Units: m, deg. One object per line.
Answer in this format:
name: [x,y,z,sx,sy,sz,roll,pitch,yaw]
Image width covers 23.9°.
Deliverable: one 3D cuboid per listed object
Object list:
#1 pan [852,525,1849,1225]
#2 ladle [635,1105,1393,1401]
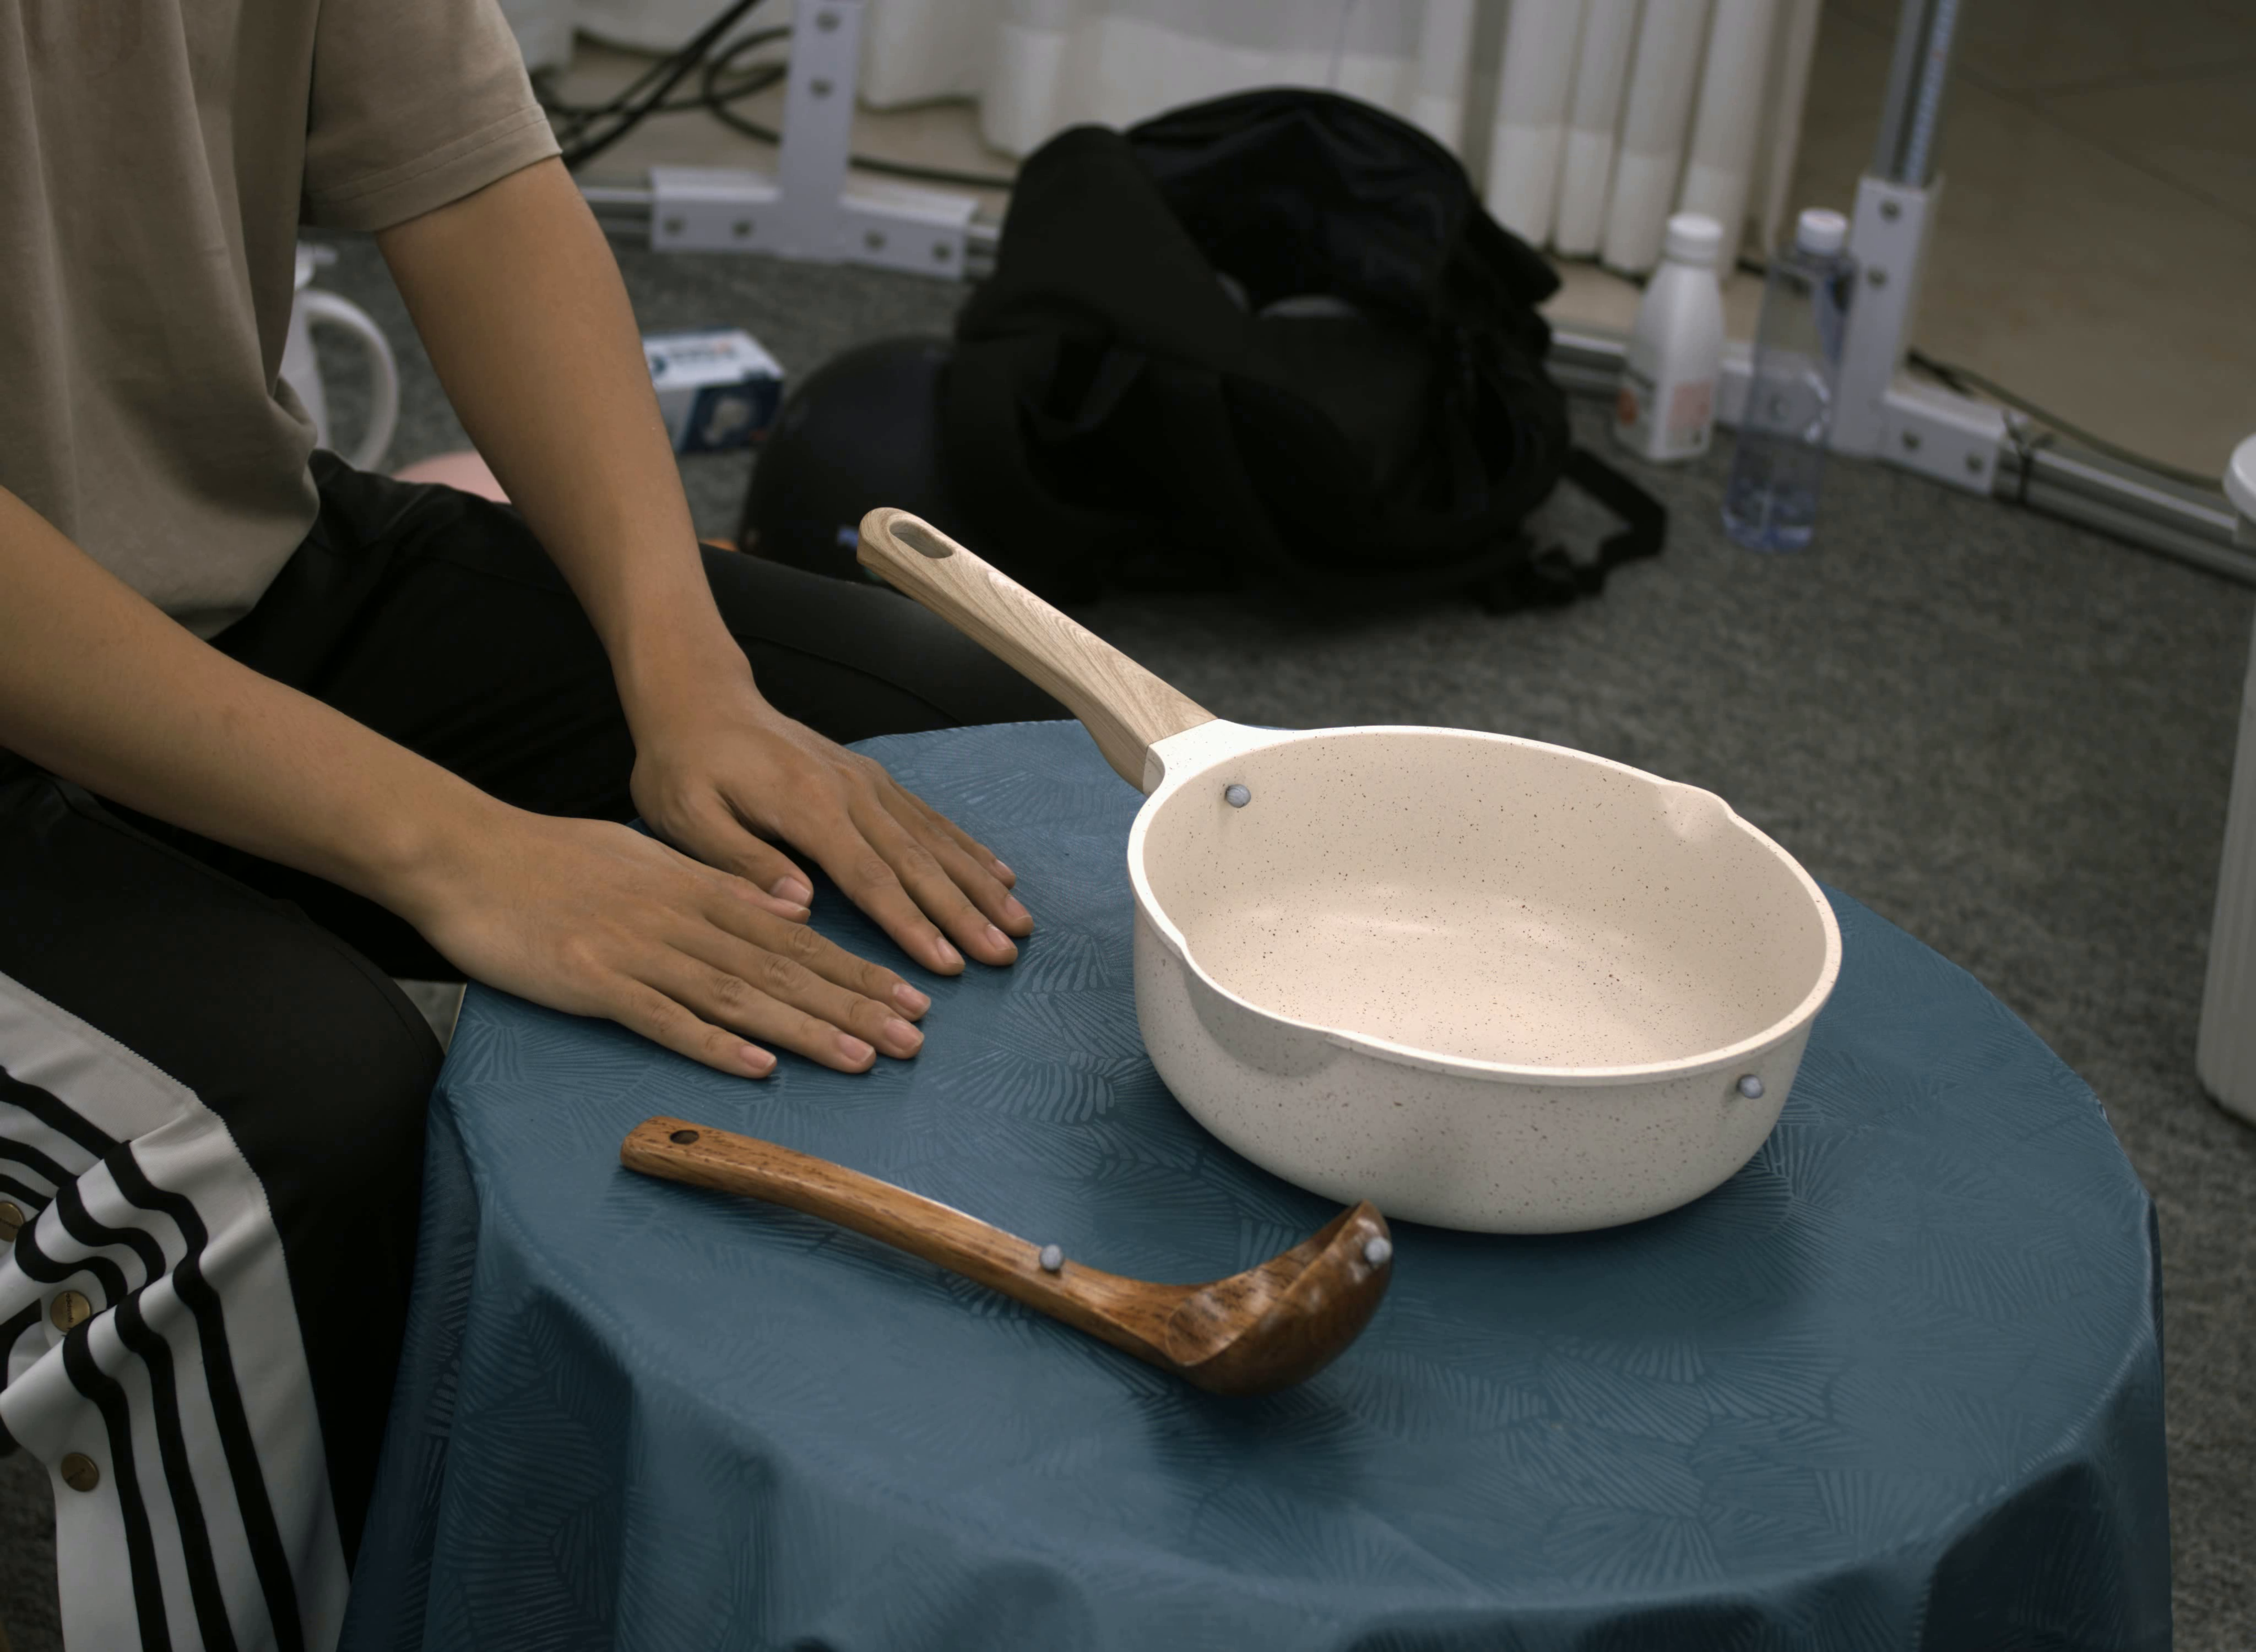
pan: [0.057,0.013,1.925,0.438,0.101,0.262,28,35,35]
ladle: [-0.043,0.118,1.720,0.275,0.076,0.082,20,31,23]
